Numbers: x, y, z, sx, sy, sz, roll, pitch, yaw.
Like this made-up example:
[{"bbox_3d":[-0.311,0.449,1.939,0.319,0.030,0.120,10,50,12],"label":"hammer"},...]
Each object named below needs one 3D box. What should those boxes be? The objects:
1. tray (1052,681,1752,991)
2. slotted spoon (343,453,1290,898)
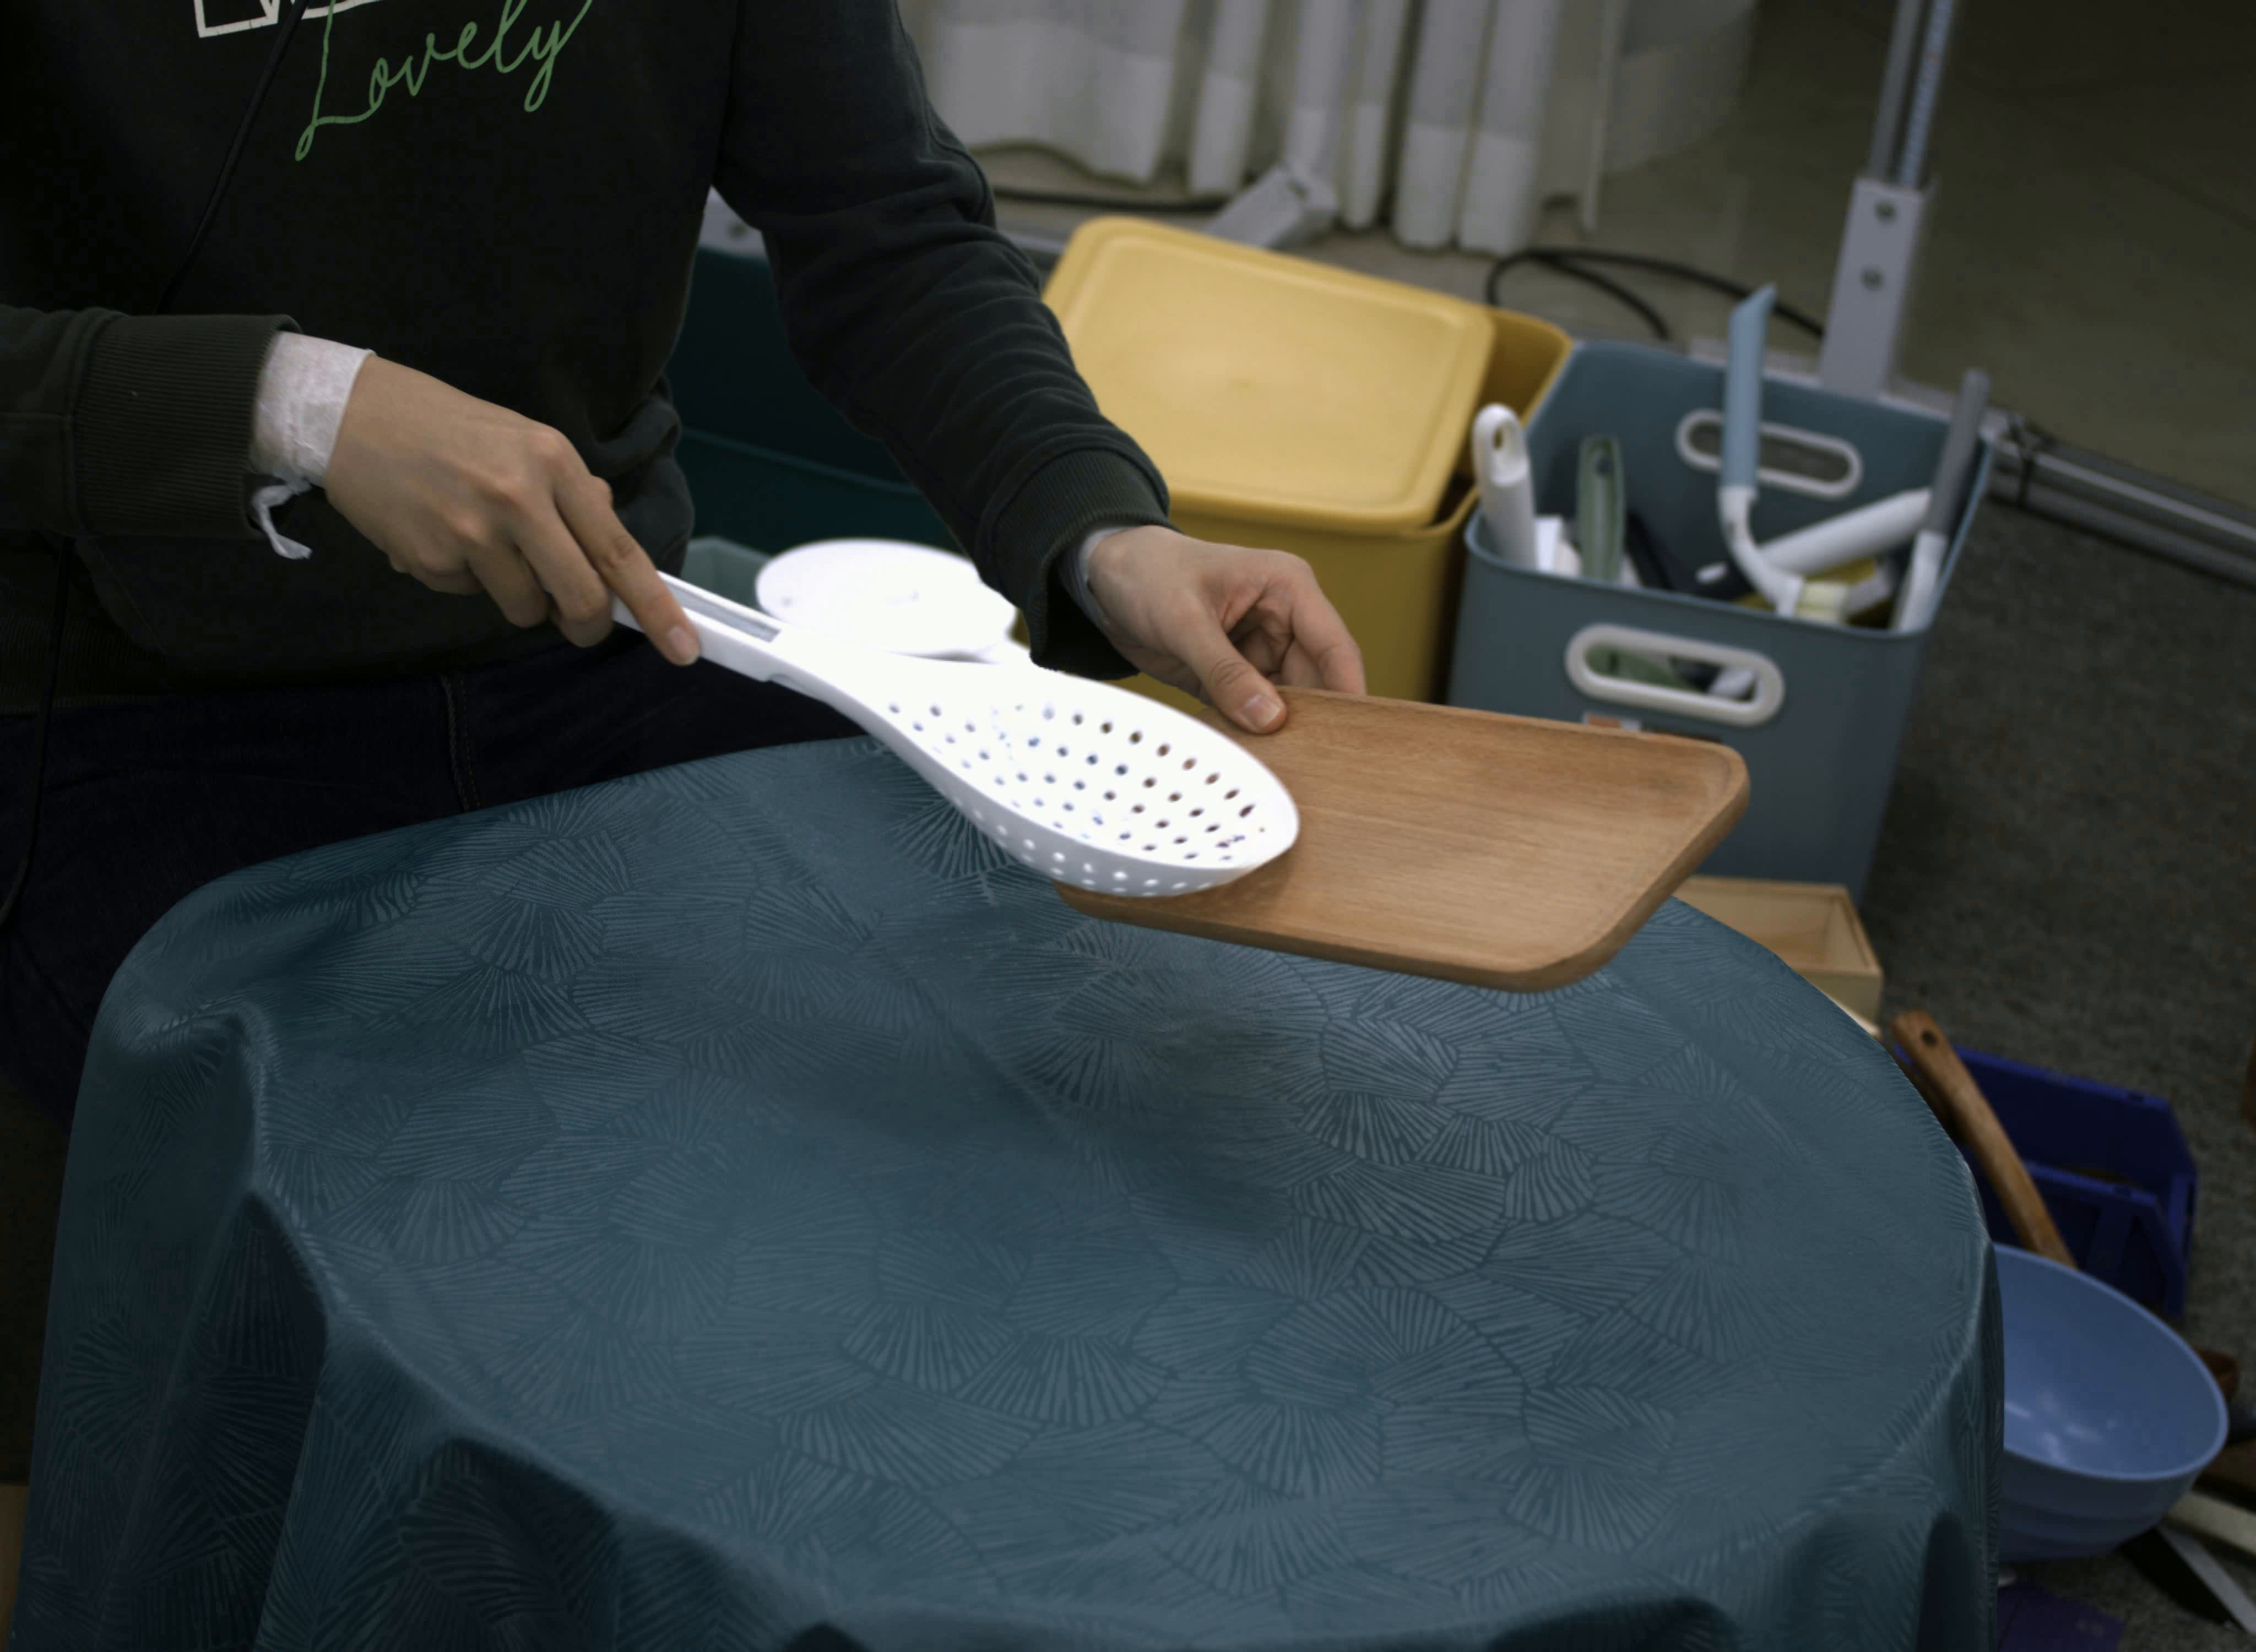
[{"bbox_3d":[0.091,0.002,1.812,0.252,0.023,0.130,8,41,46],"label":"tray"},{"bbox_3d":[-0.110,-0.055,1.834,0.349,0.045,0.136,27,21,4],"label":"slotted spoon"}]
